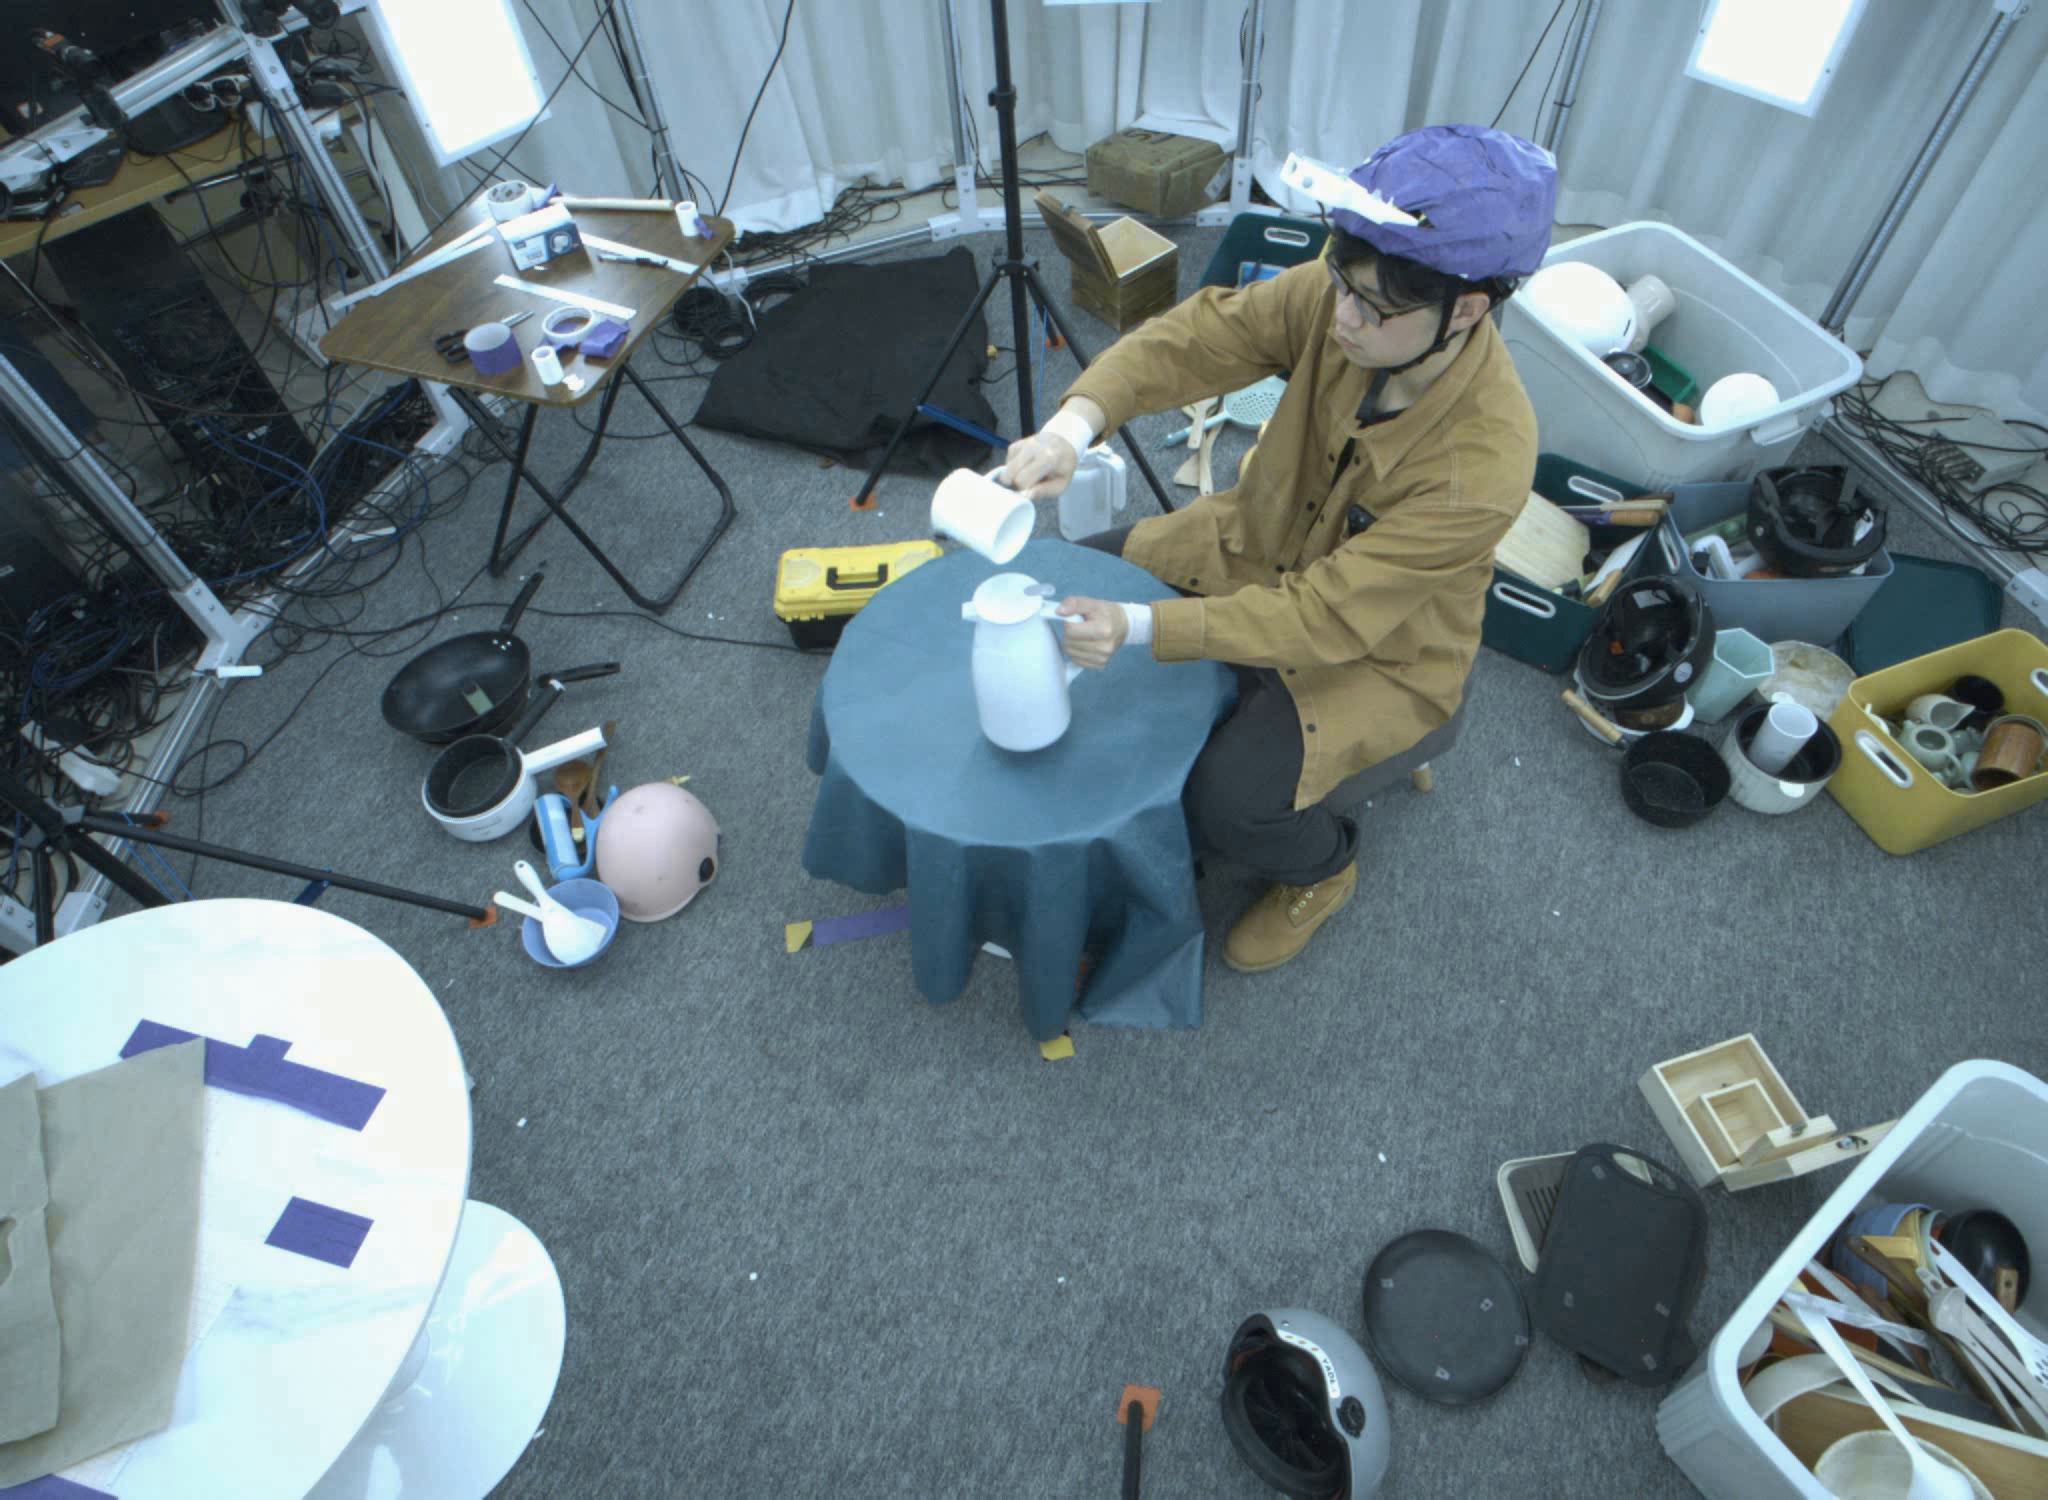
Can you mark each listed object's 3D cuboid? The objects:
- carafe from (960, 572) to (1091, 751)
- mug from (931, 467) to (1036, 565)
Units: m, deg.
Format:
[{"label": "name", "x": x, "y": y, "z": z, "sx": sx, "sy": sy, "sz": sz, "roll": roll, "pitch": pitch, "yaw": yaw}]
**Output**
[{"label": "carafe", "x": 0.008, "y": -0.128, "z": 1.667, "sx": 0.168, "sy": 0.252, "sz": 0.131, "roll": -6, "pitch": 52, "yaw": 1}, {"label": "mug", "x": -0.043, "y": -0.302, "z": 1.510, "sx": 0.100, "sy": 0.086, "sz": 0.118, "roll": 34, "pitch": 81, "yaw": 17}]
